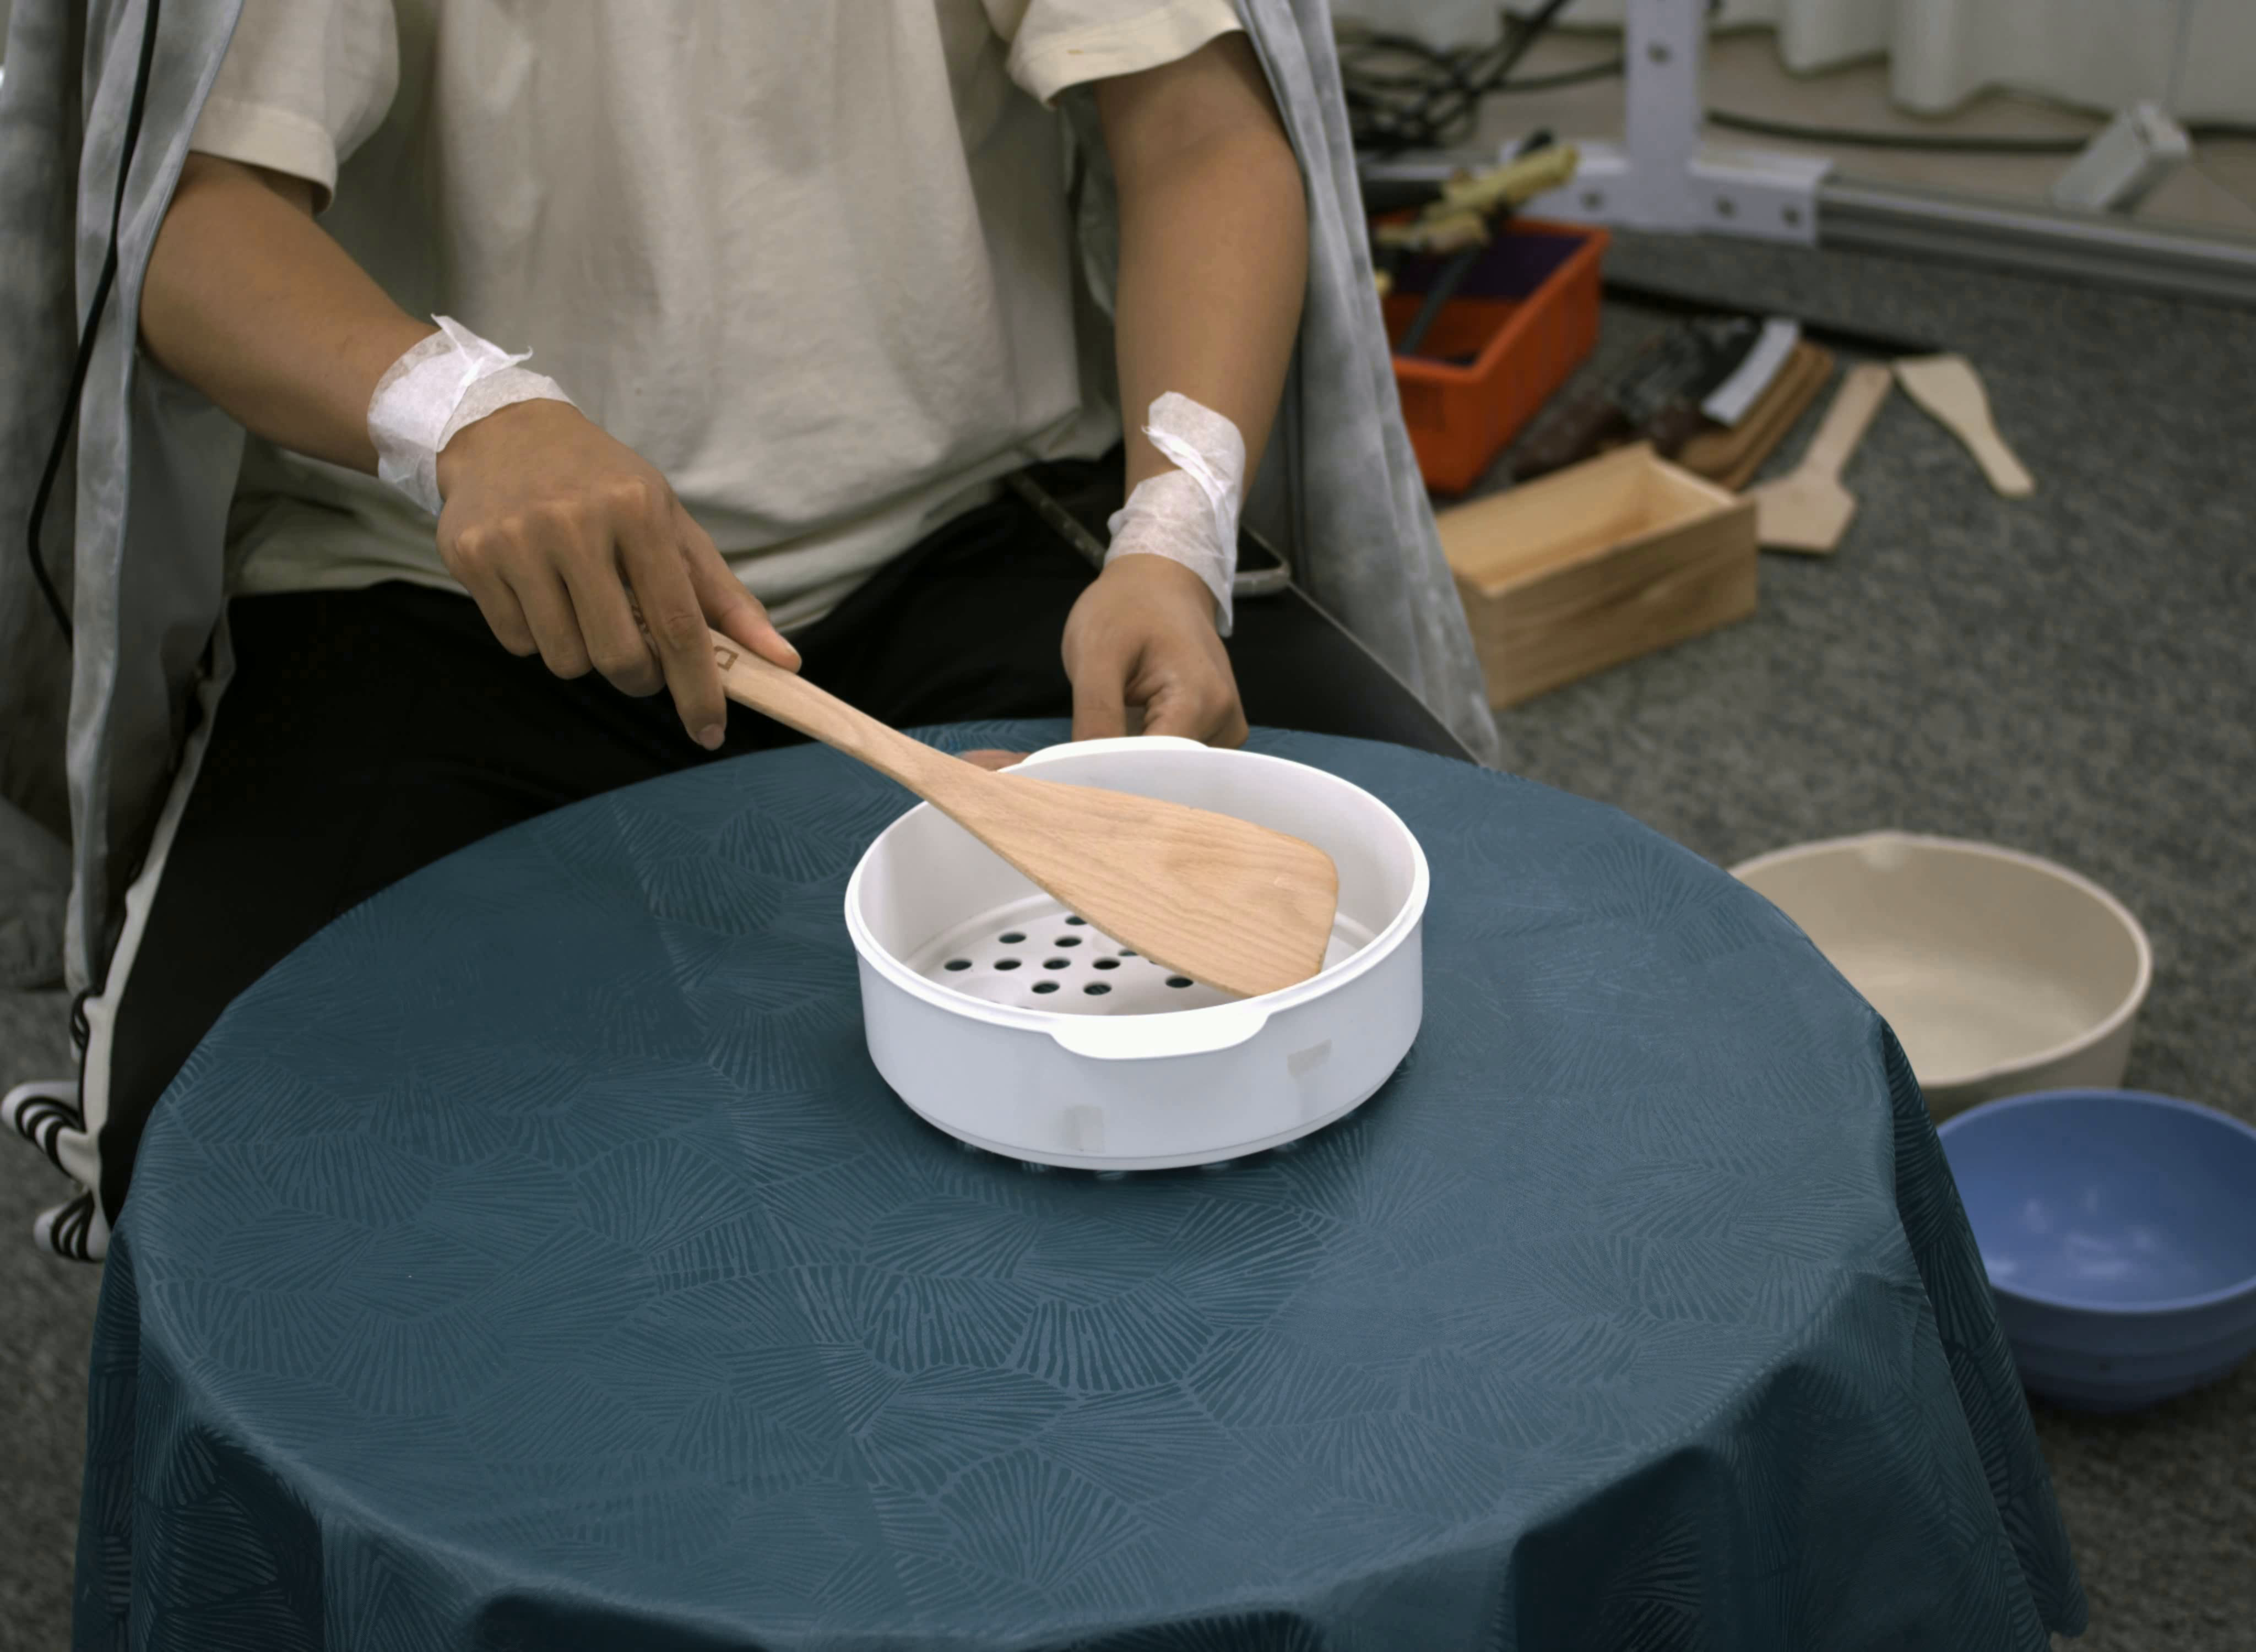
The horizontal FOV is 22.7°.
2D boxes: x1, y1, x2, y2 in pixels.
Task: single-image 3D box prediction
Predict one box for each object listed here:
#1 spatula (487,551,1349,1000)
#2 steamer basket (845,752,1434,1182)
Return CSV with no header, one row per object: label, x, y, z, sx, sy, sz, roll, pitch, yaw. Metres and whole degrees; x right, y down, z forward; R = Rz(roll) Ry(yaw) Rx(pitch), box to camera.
spatula,-0.072,-0.026,1.944,0.326,0.016,0.081,25,44,5
steamer basket,0.005,0.050,1.929,0.201,0.068,0.234,-3,26,-3
